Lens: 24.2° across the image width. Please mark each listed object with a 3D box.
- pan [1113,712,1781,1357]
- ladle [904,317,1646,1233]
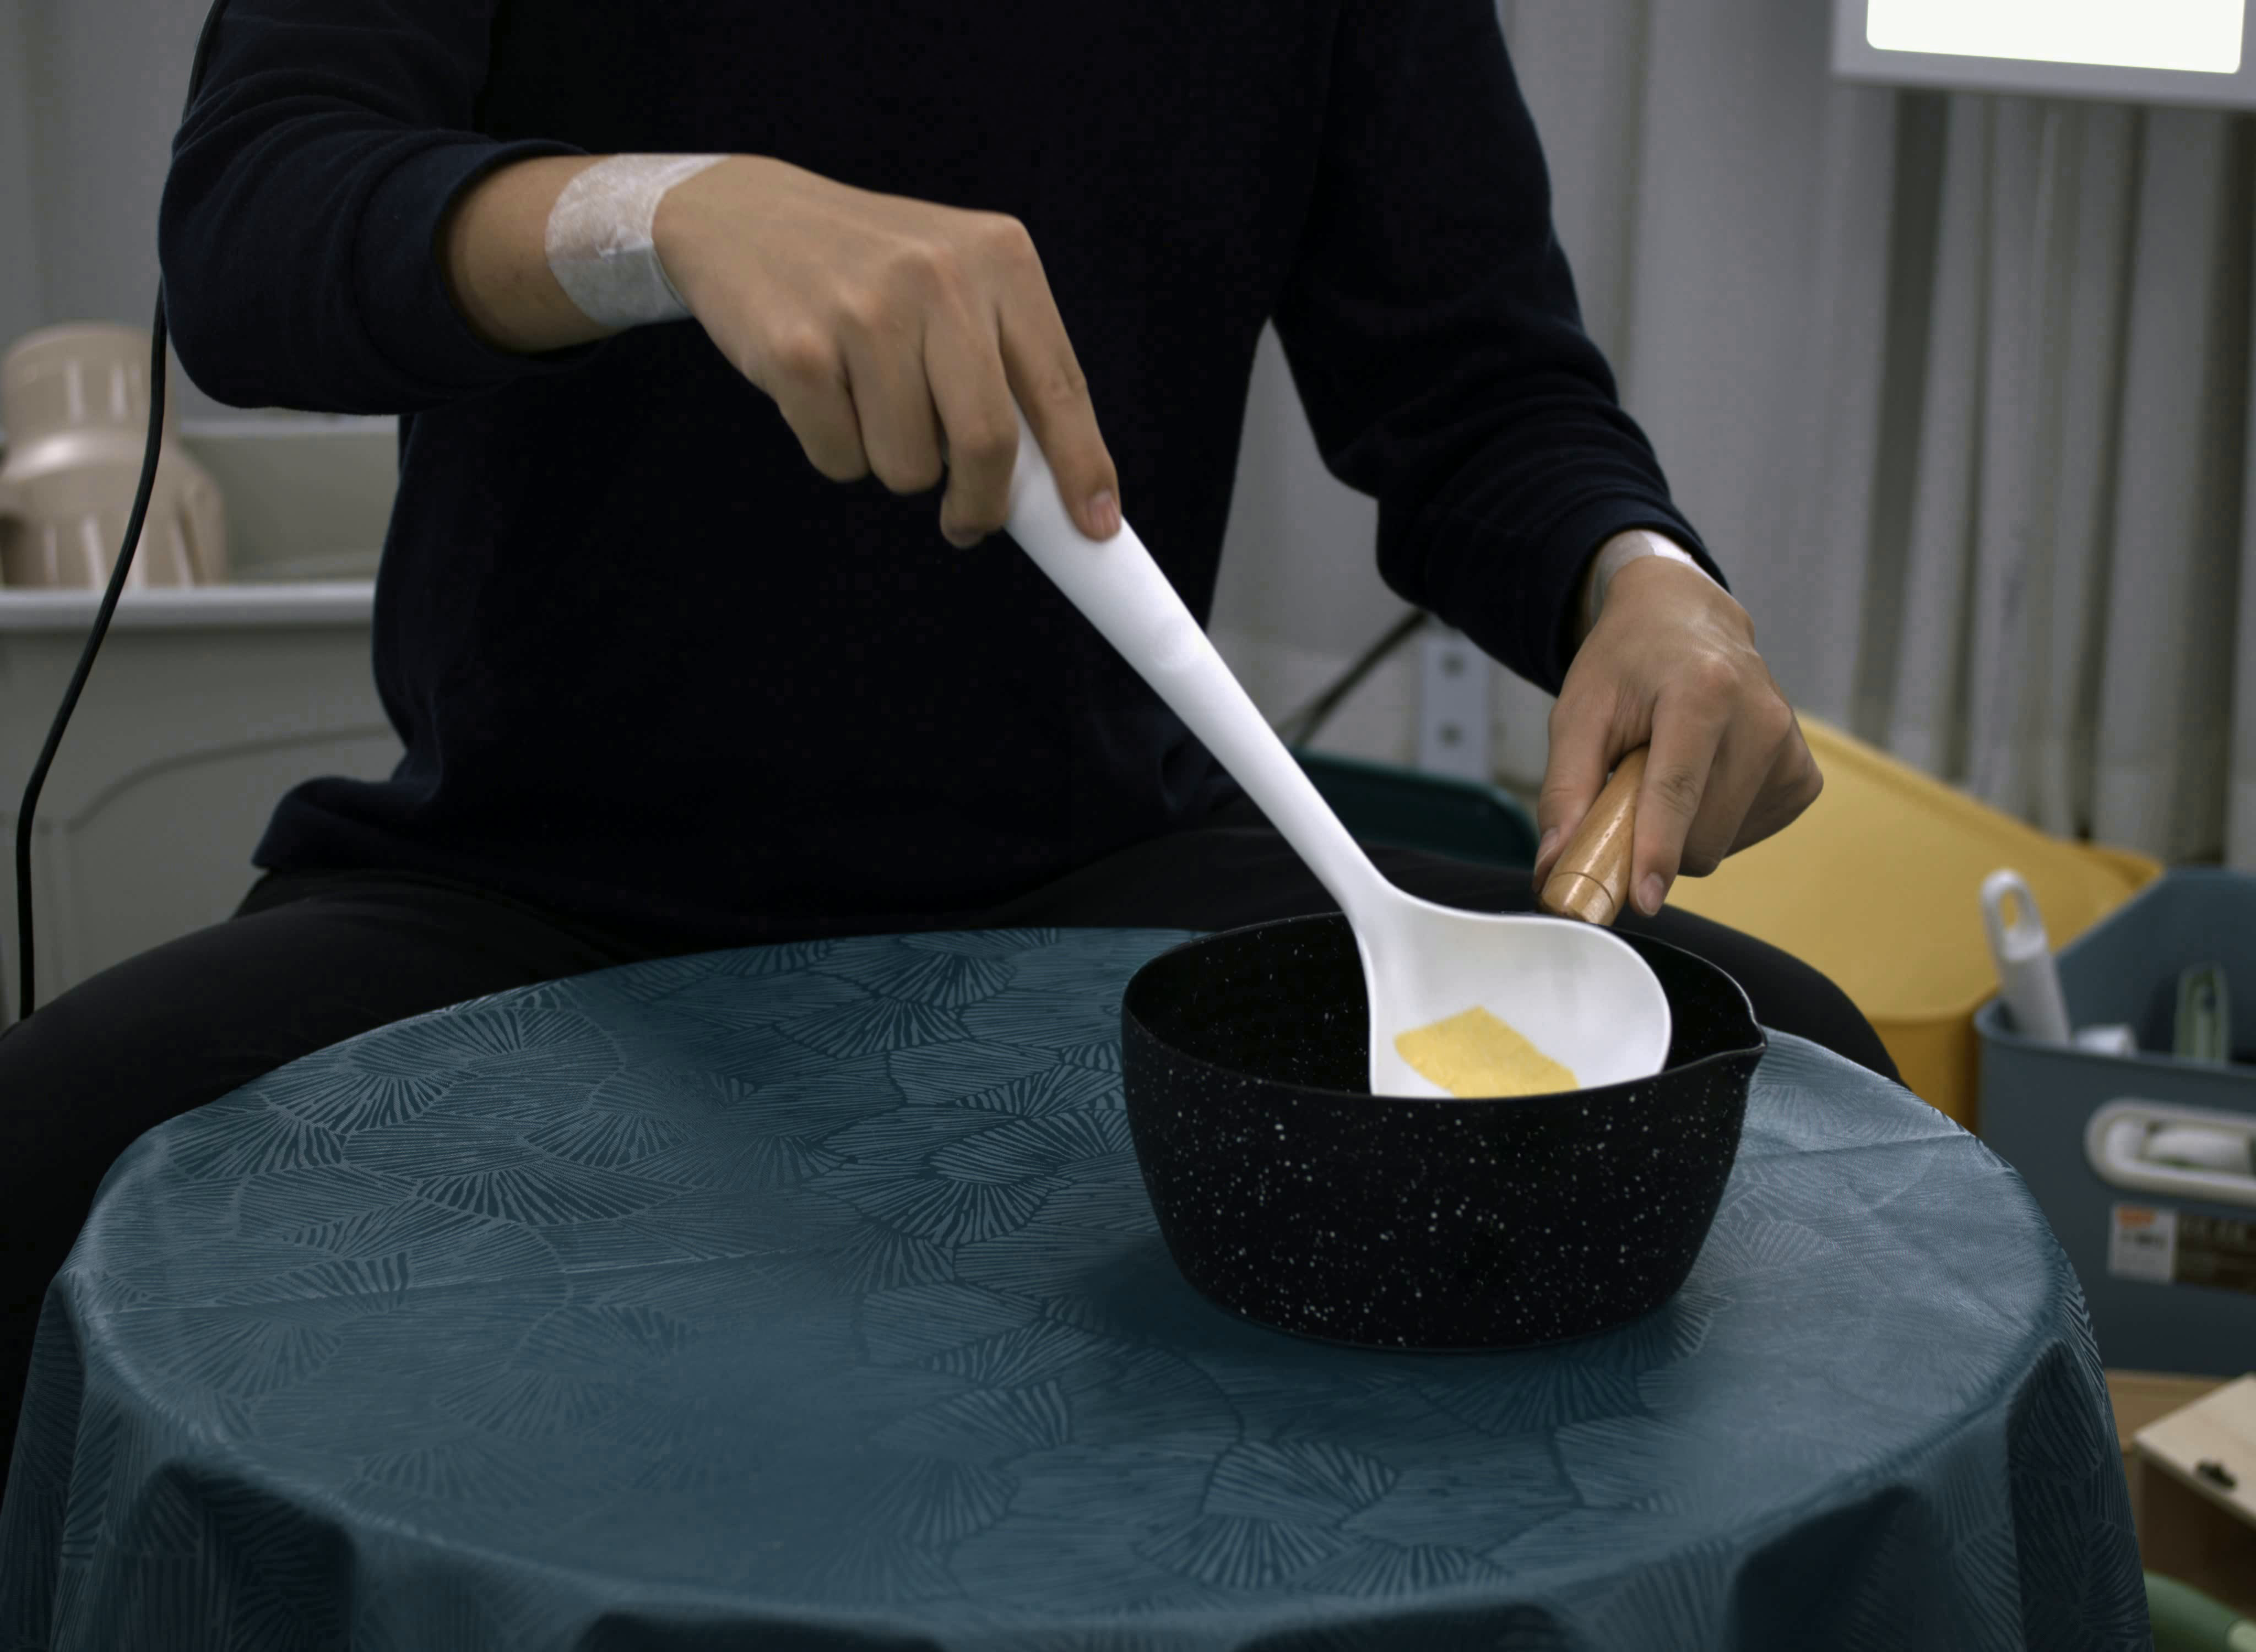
[{"bbox_3d":[0.118,0.058,1.617,0.205,0.109,0.343,5,18,20],"label":"pan"},{"bbox_3d":[0.036,-0.017,1.480,0.090,0.295,0.069,-37,11,-7],"label":"ladle"}]
